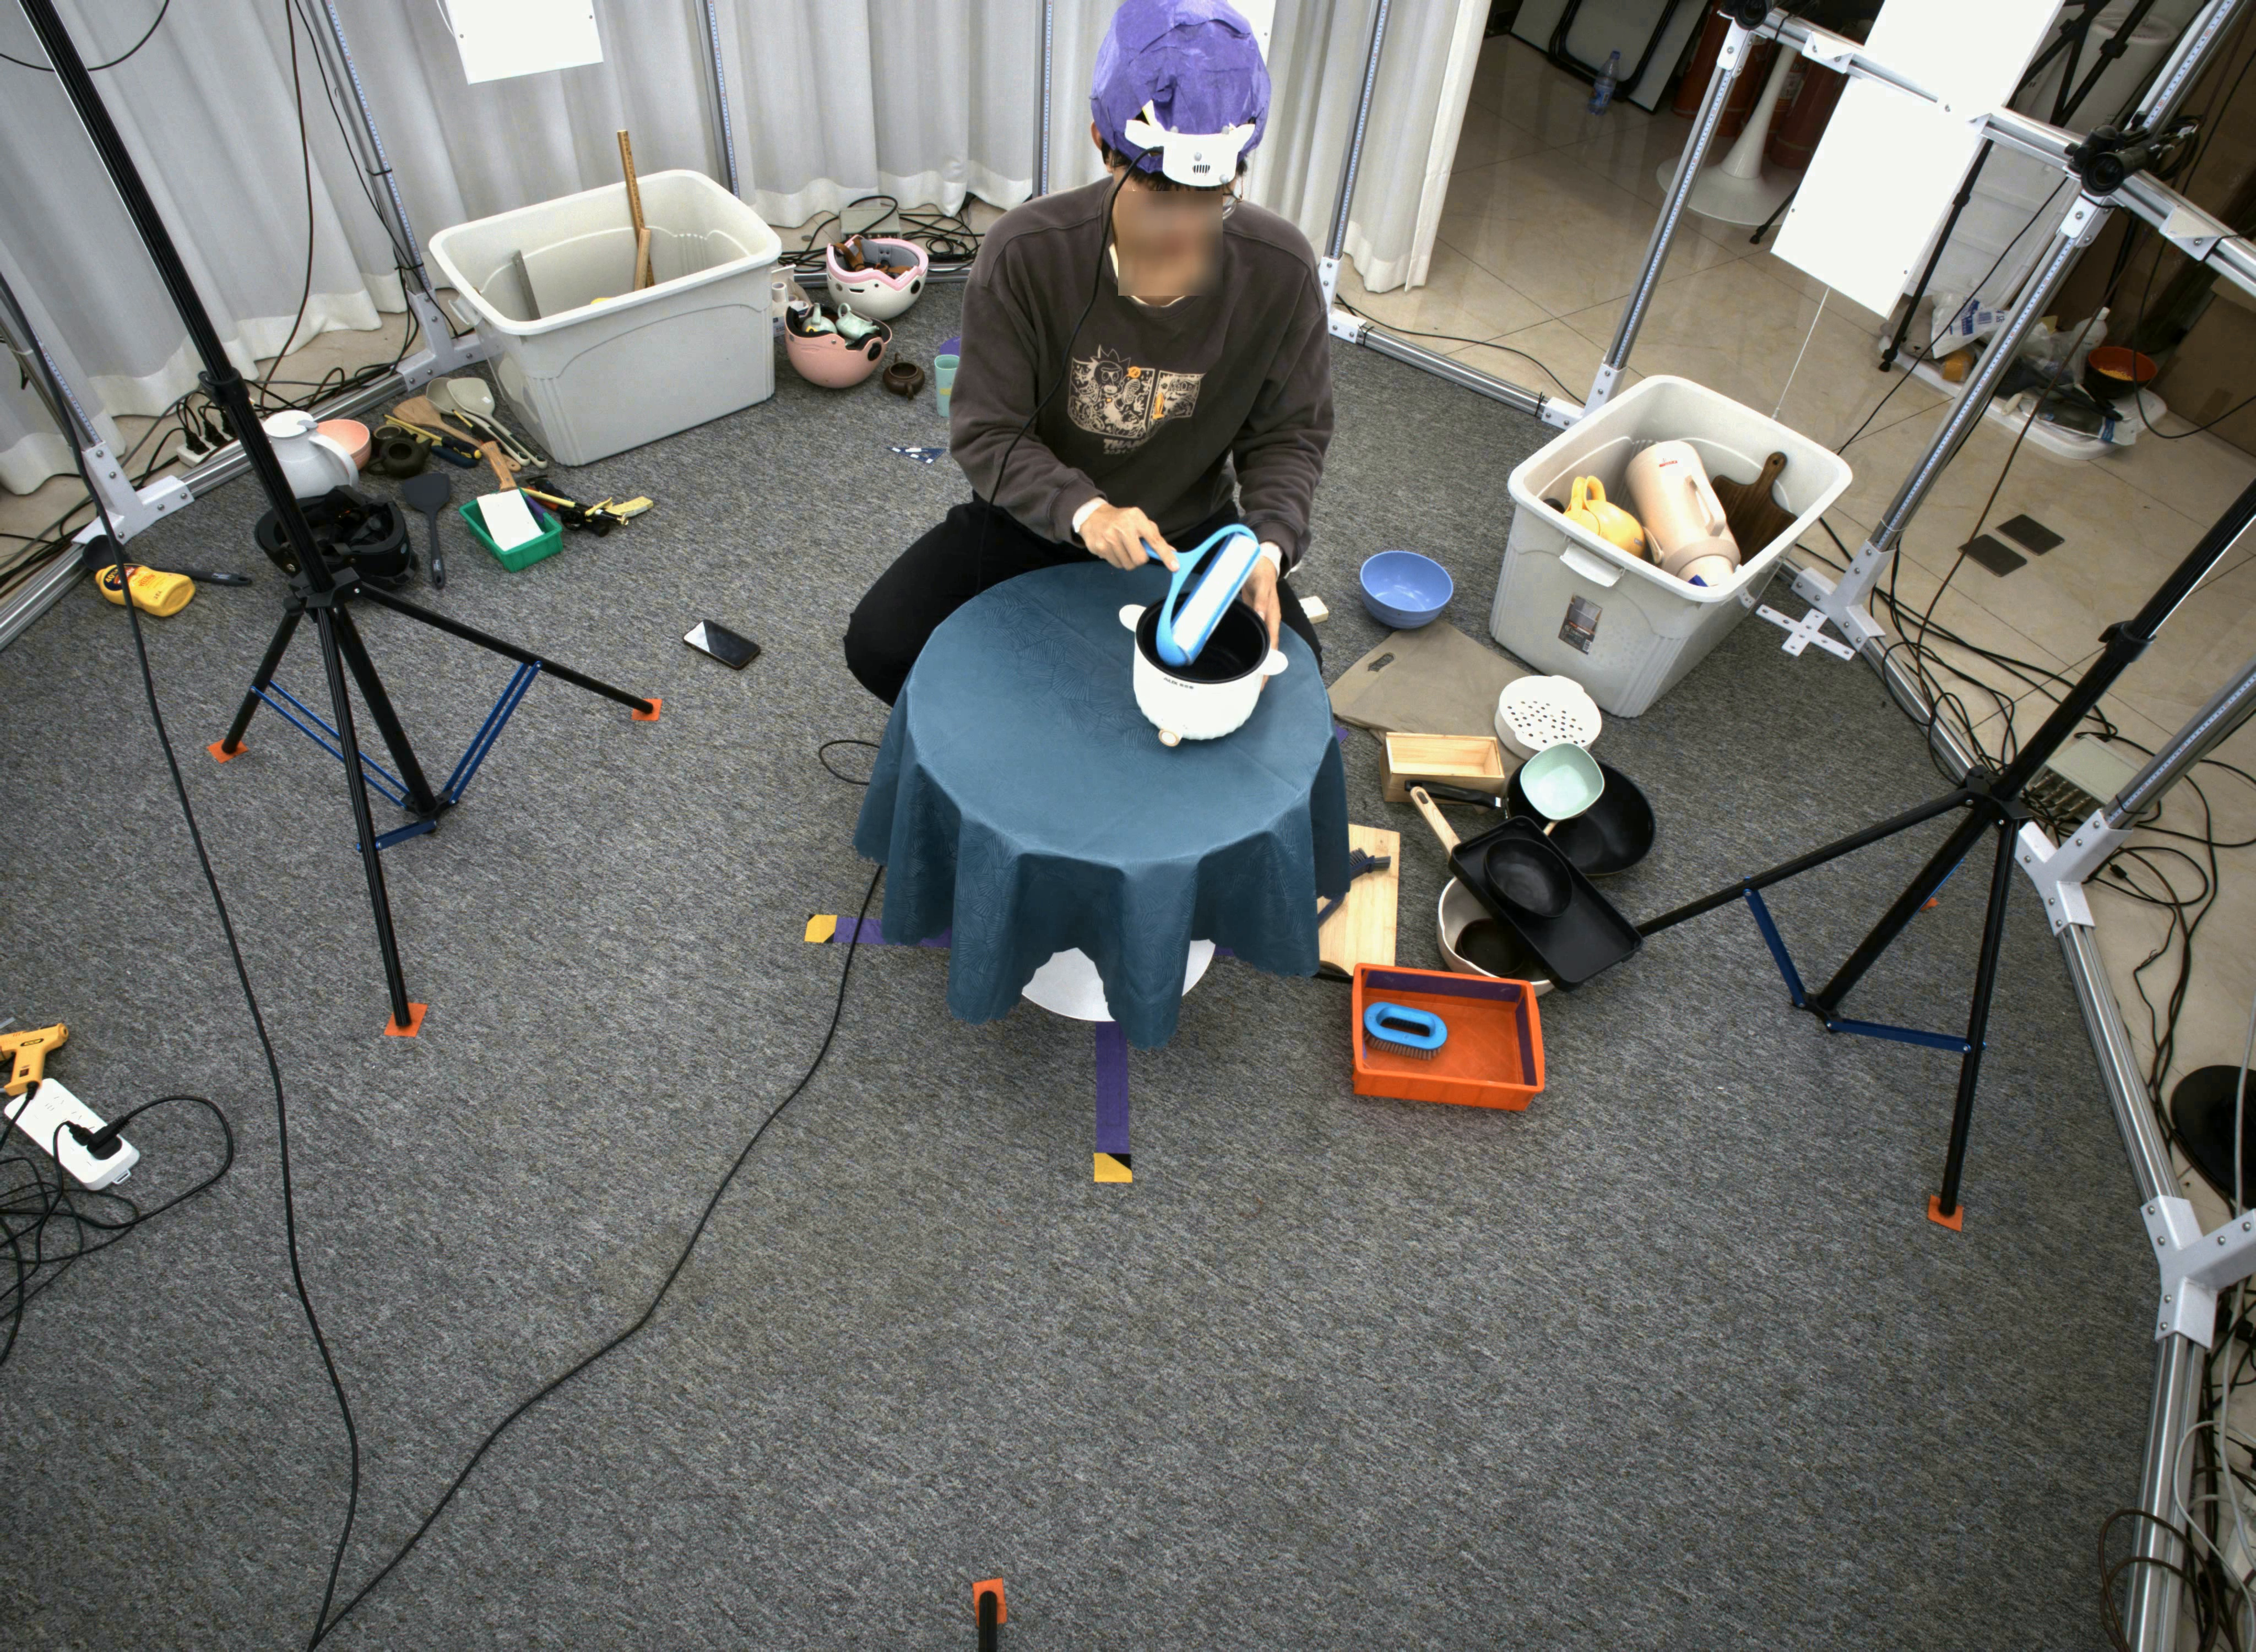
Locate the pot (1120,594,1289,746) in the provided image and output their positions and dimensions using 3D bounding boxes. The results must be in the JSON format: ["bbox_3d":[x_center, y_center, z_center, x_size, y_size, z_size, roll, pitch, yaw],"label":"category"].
[{"bbox_3d":[0.097,-0.210,1.765,0.241,0.139,0.194,18,47,14],"label":"pot"}]

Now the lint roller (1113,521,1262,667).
[{"bbox_3d":[0.062,-0.340,1.723,0.179,0.067,0.231,32,74,-6],"label":"lint roller"}]
